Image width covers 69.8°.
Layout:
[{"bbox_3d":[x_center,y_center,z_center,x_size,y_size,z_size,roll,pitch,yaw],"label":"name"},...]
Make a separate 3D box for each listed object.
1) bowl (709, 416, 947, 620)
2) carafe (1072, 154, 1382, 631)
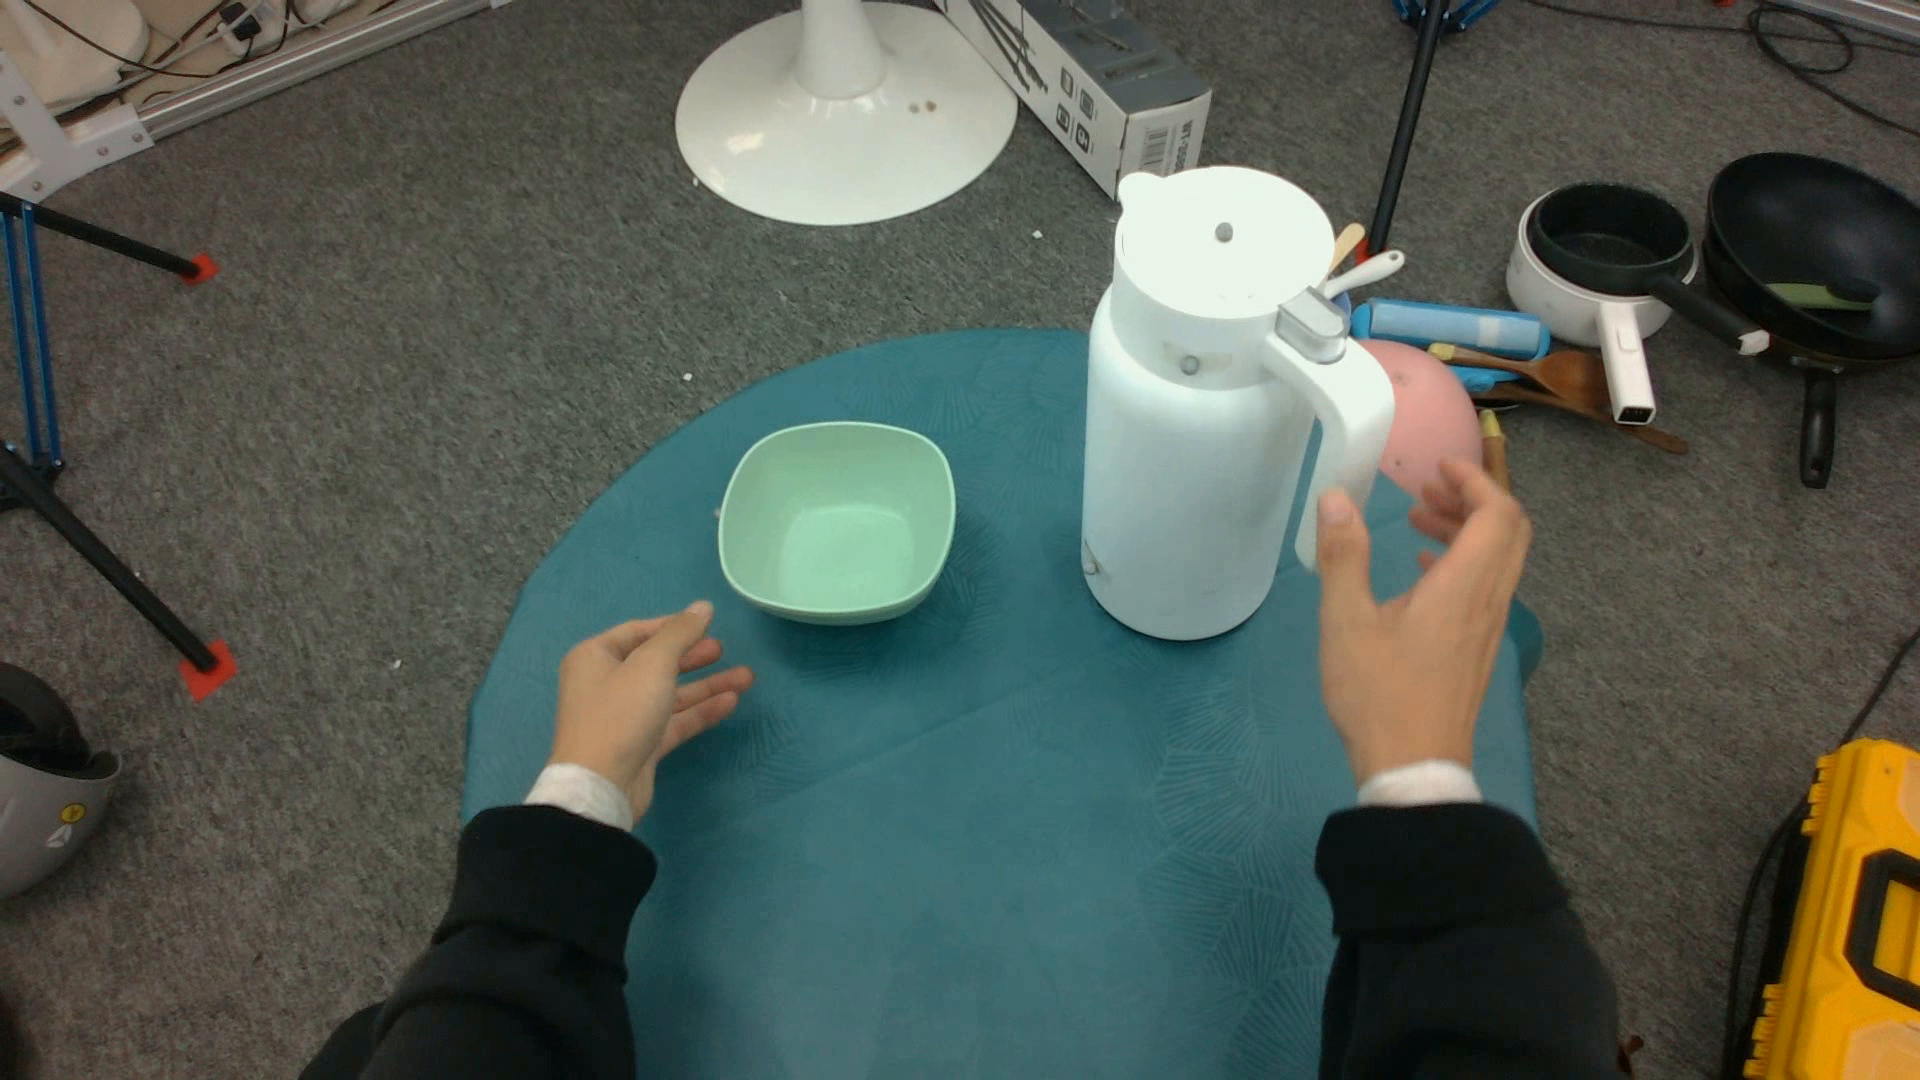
[{"bbox_3d":[-0.076,-0.004,0.827,0.151,0.058,0.152,-1,55,2],"label":"bowl"},{"bbox_3d":[0.132,-0.056,0.725,0.124,0.267,0.173,-32,59,-21],"label":"carafe"}]
